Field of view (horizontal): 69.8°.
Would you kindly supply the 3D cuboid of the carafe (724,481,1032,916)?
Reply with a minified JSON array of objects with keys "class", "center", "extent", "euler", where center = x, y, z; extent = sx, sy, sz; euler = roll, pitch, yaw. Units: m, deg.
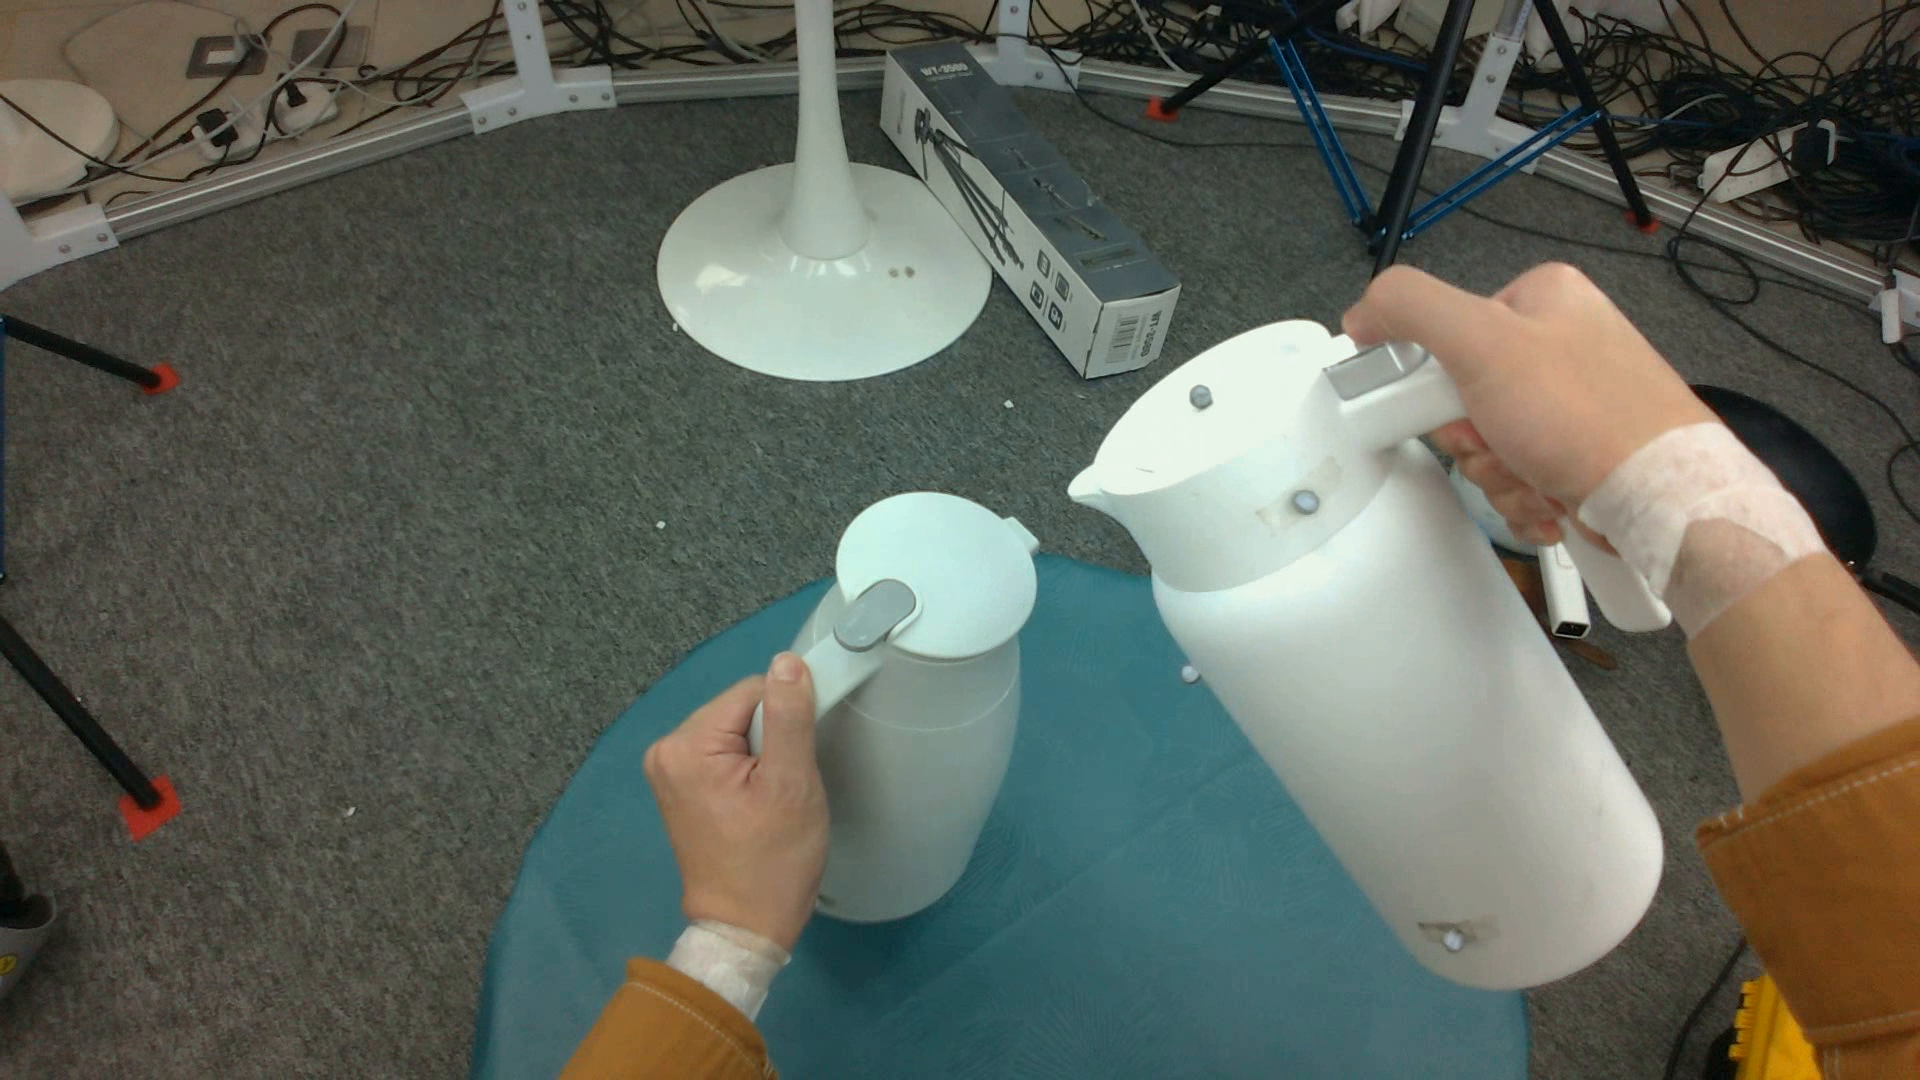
[{"class":"carafe","center":[-0.047,0.089,0.690],"extent":[0.168,0.247,0.132],"euler":[-34,67,-32]}]

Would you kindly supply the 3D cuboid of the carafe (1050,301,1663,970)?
[{"class":"carafe","center":[0.176,0.035,0.532],"extent":[0.268,0.172,0.124],"euler":[52,36,-18]}]
